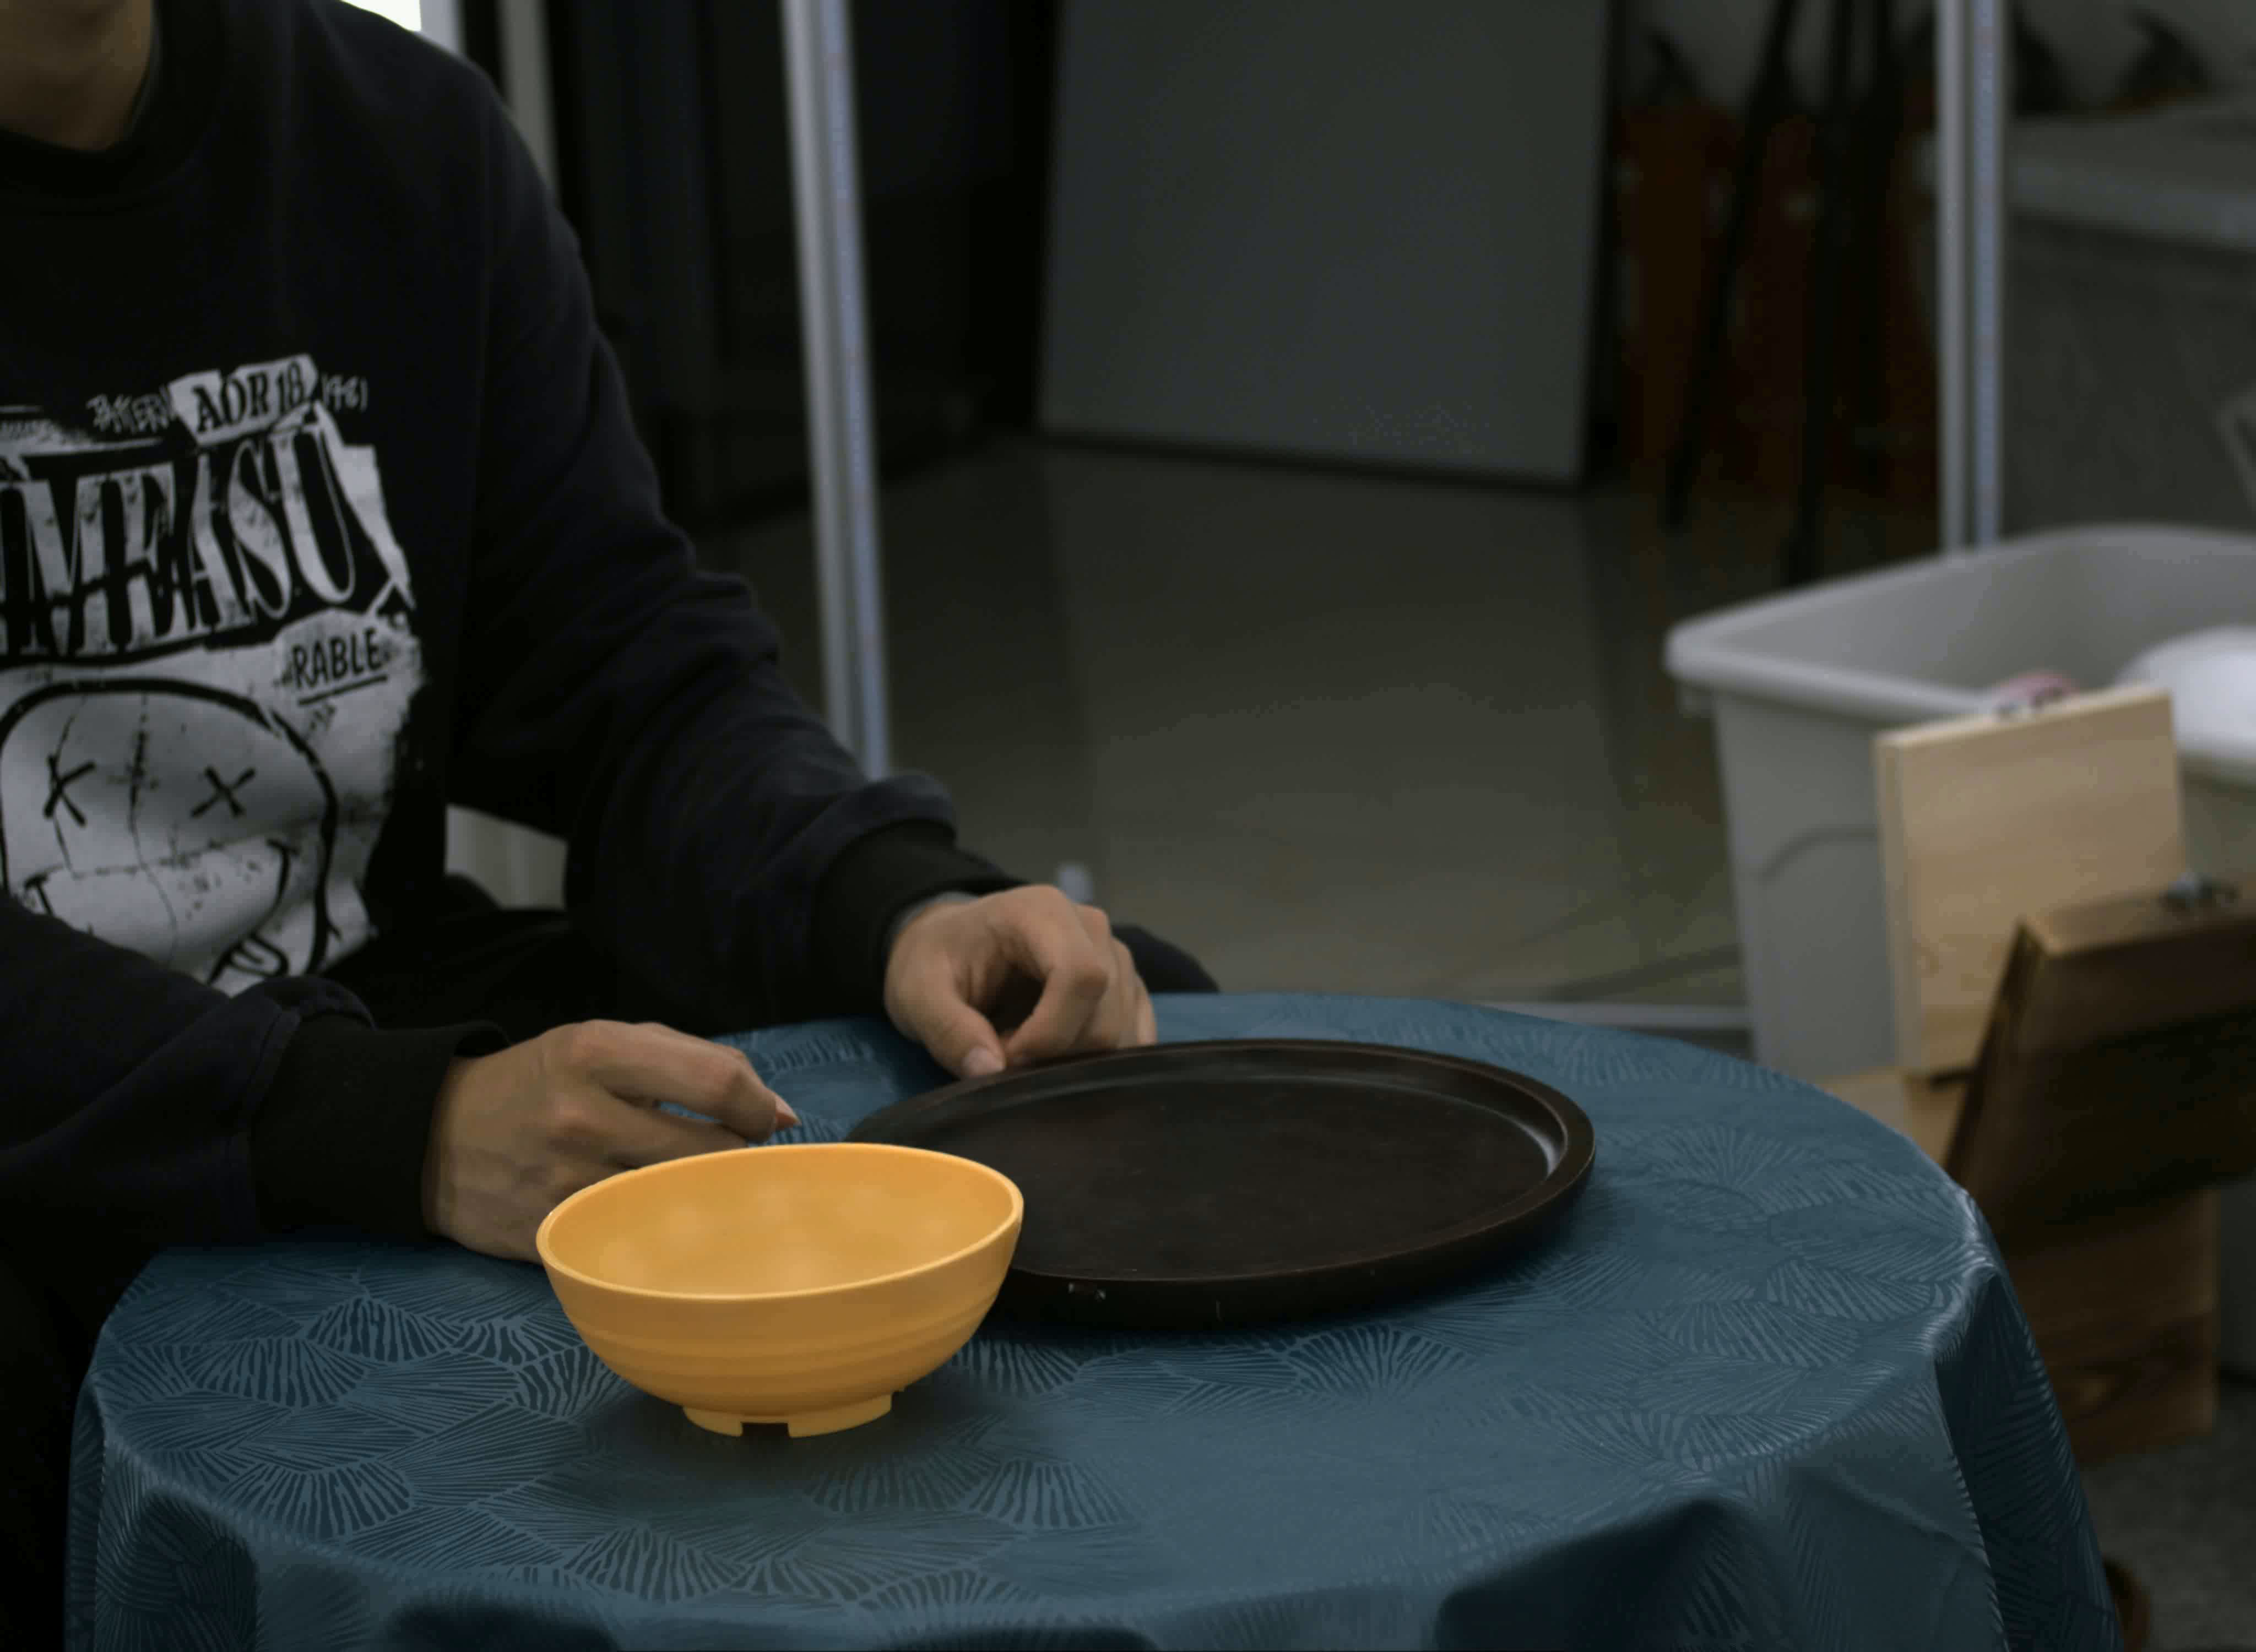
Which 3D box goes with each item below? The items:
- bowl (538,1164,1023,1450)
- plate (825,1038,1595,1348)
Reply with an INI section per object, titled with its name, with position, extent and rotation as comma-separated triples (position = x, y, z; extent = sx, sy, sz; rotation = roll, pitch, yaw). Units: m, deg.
[bowl]
position = -0.100, 0.145, 1.589
extent = 0.143, 0.061, 0.145
rotation = -4, 11, 0
[plate]
position = 0.027, 0.116, 1.740
extent = 0.251, 0.029, 0.255
rotation = -6, 15, 1
